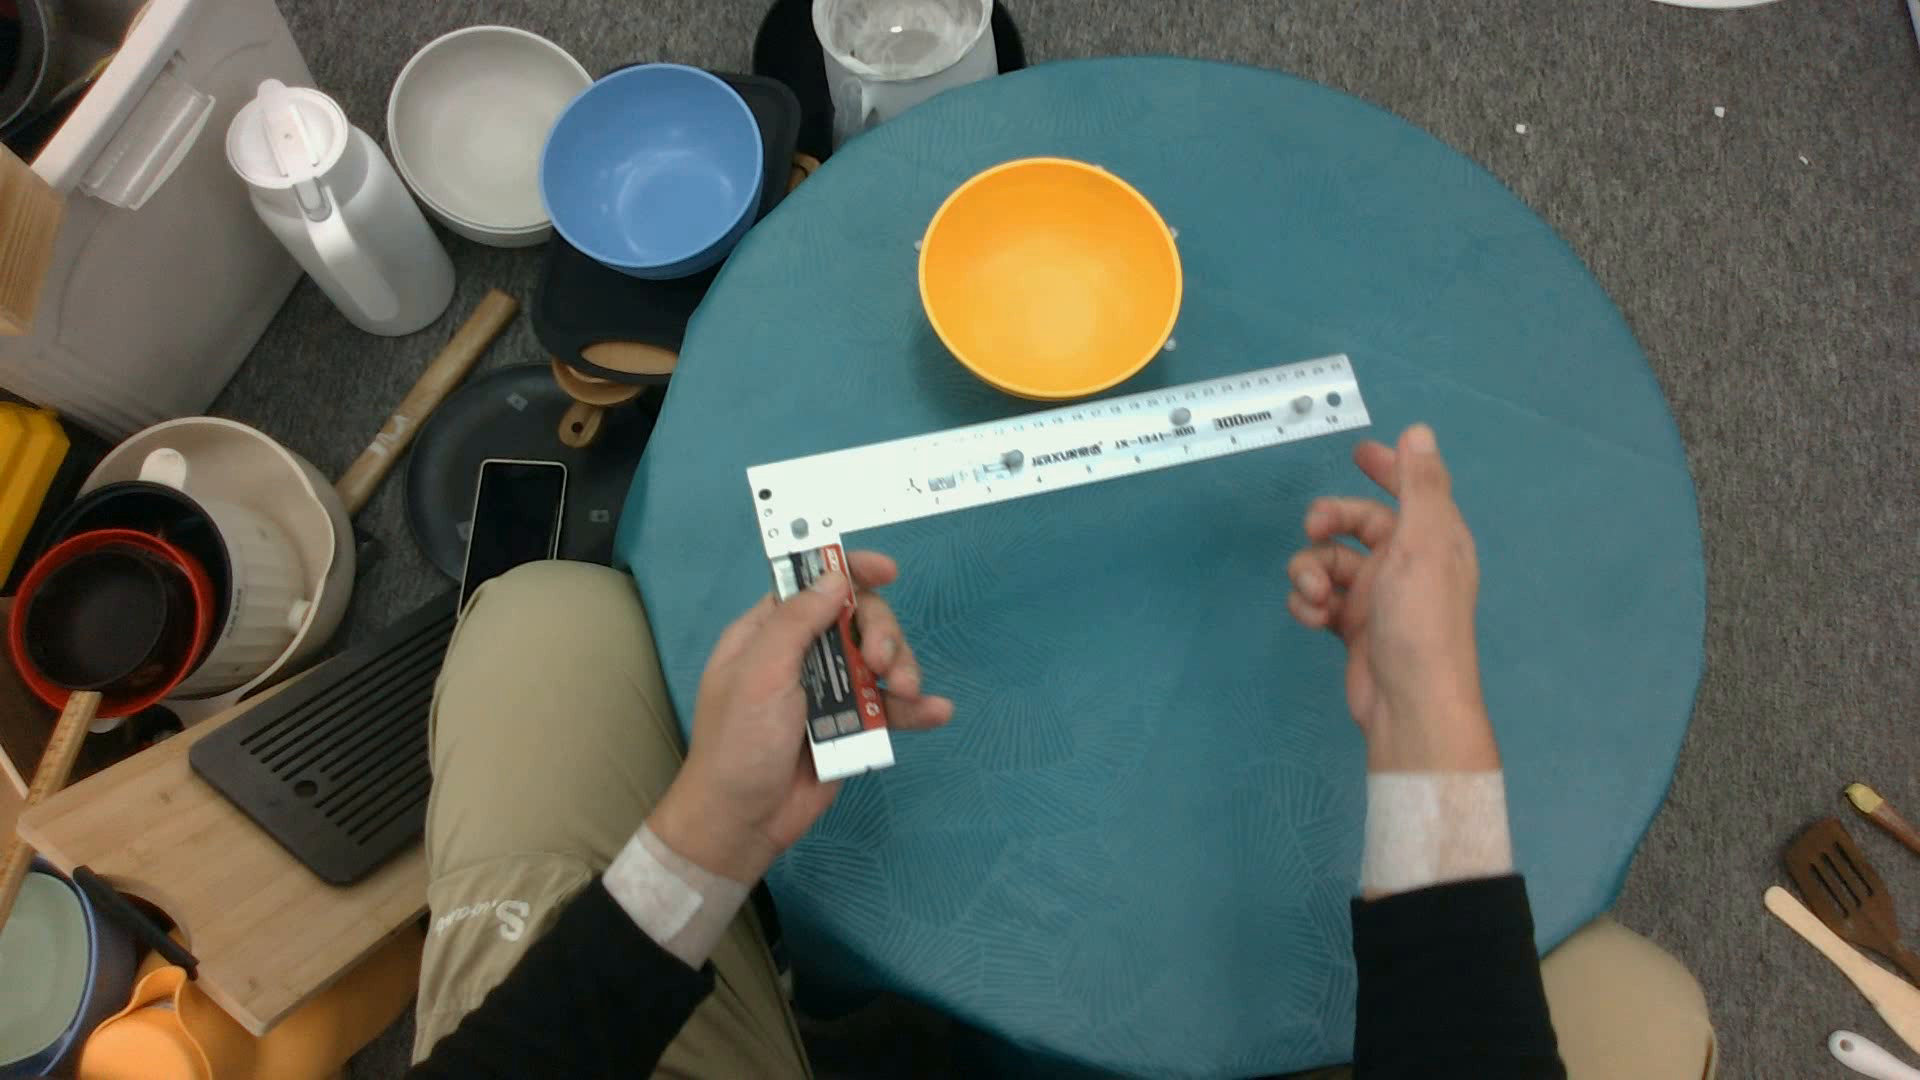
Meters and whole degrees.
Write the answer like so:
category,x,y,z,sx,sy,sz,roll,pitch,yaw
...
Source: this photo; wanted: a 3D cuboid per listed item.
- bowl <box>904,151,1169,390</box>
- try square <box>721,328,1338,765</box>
category,x,y,z,sx,sy,sz,roll,pitch,yaw
bowl,0.041,-0.142,0.777,0.145,0.060,0.145,0,73,-1
try square,0.054,-0.005,0.654,0.313,0.016,0.152,-12,78,-14
